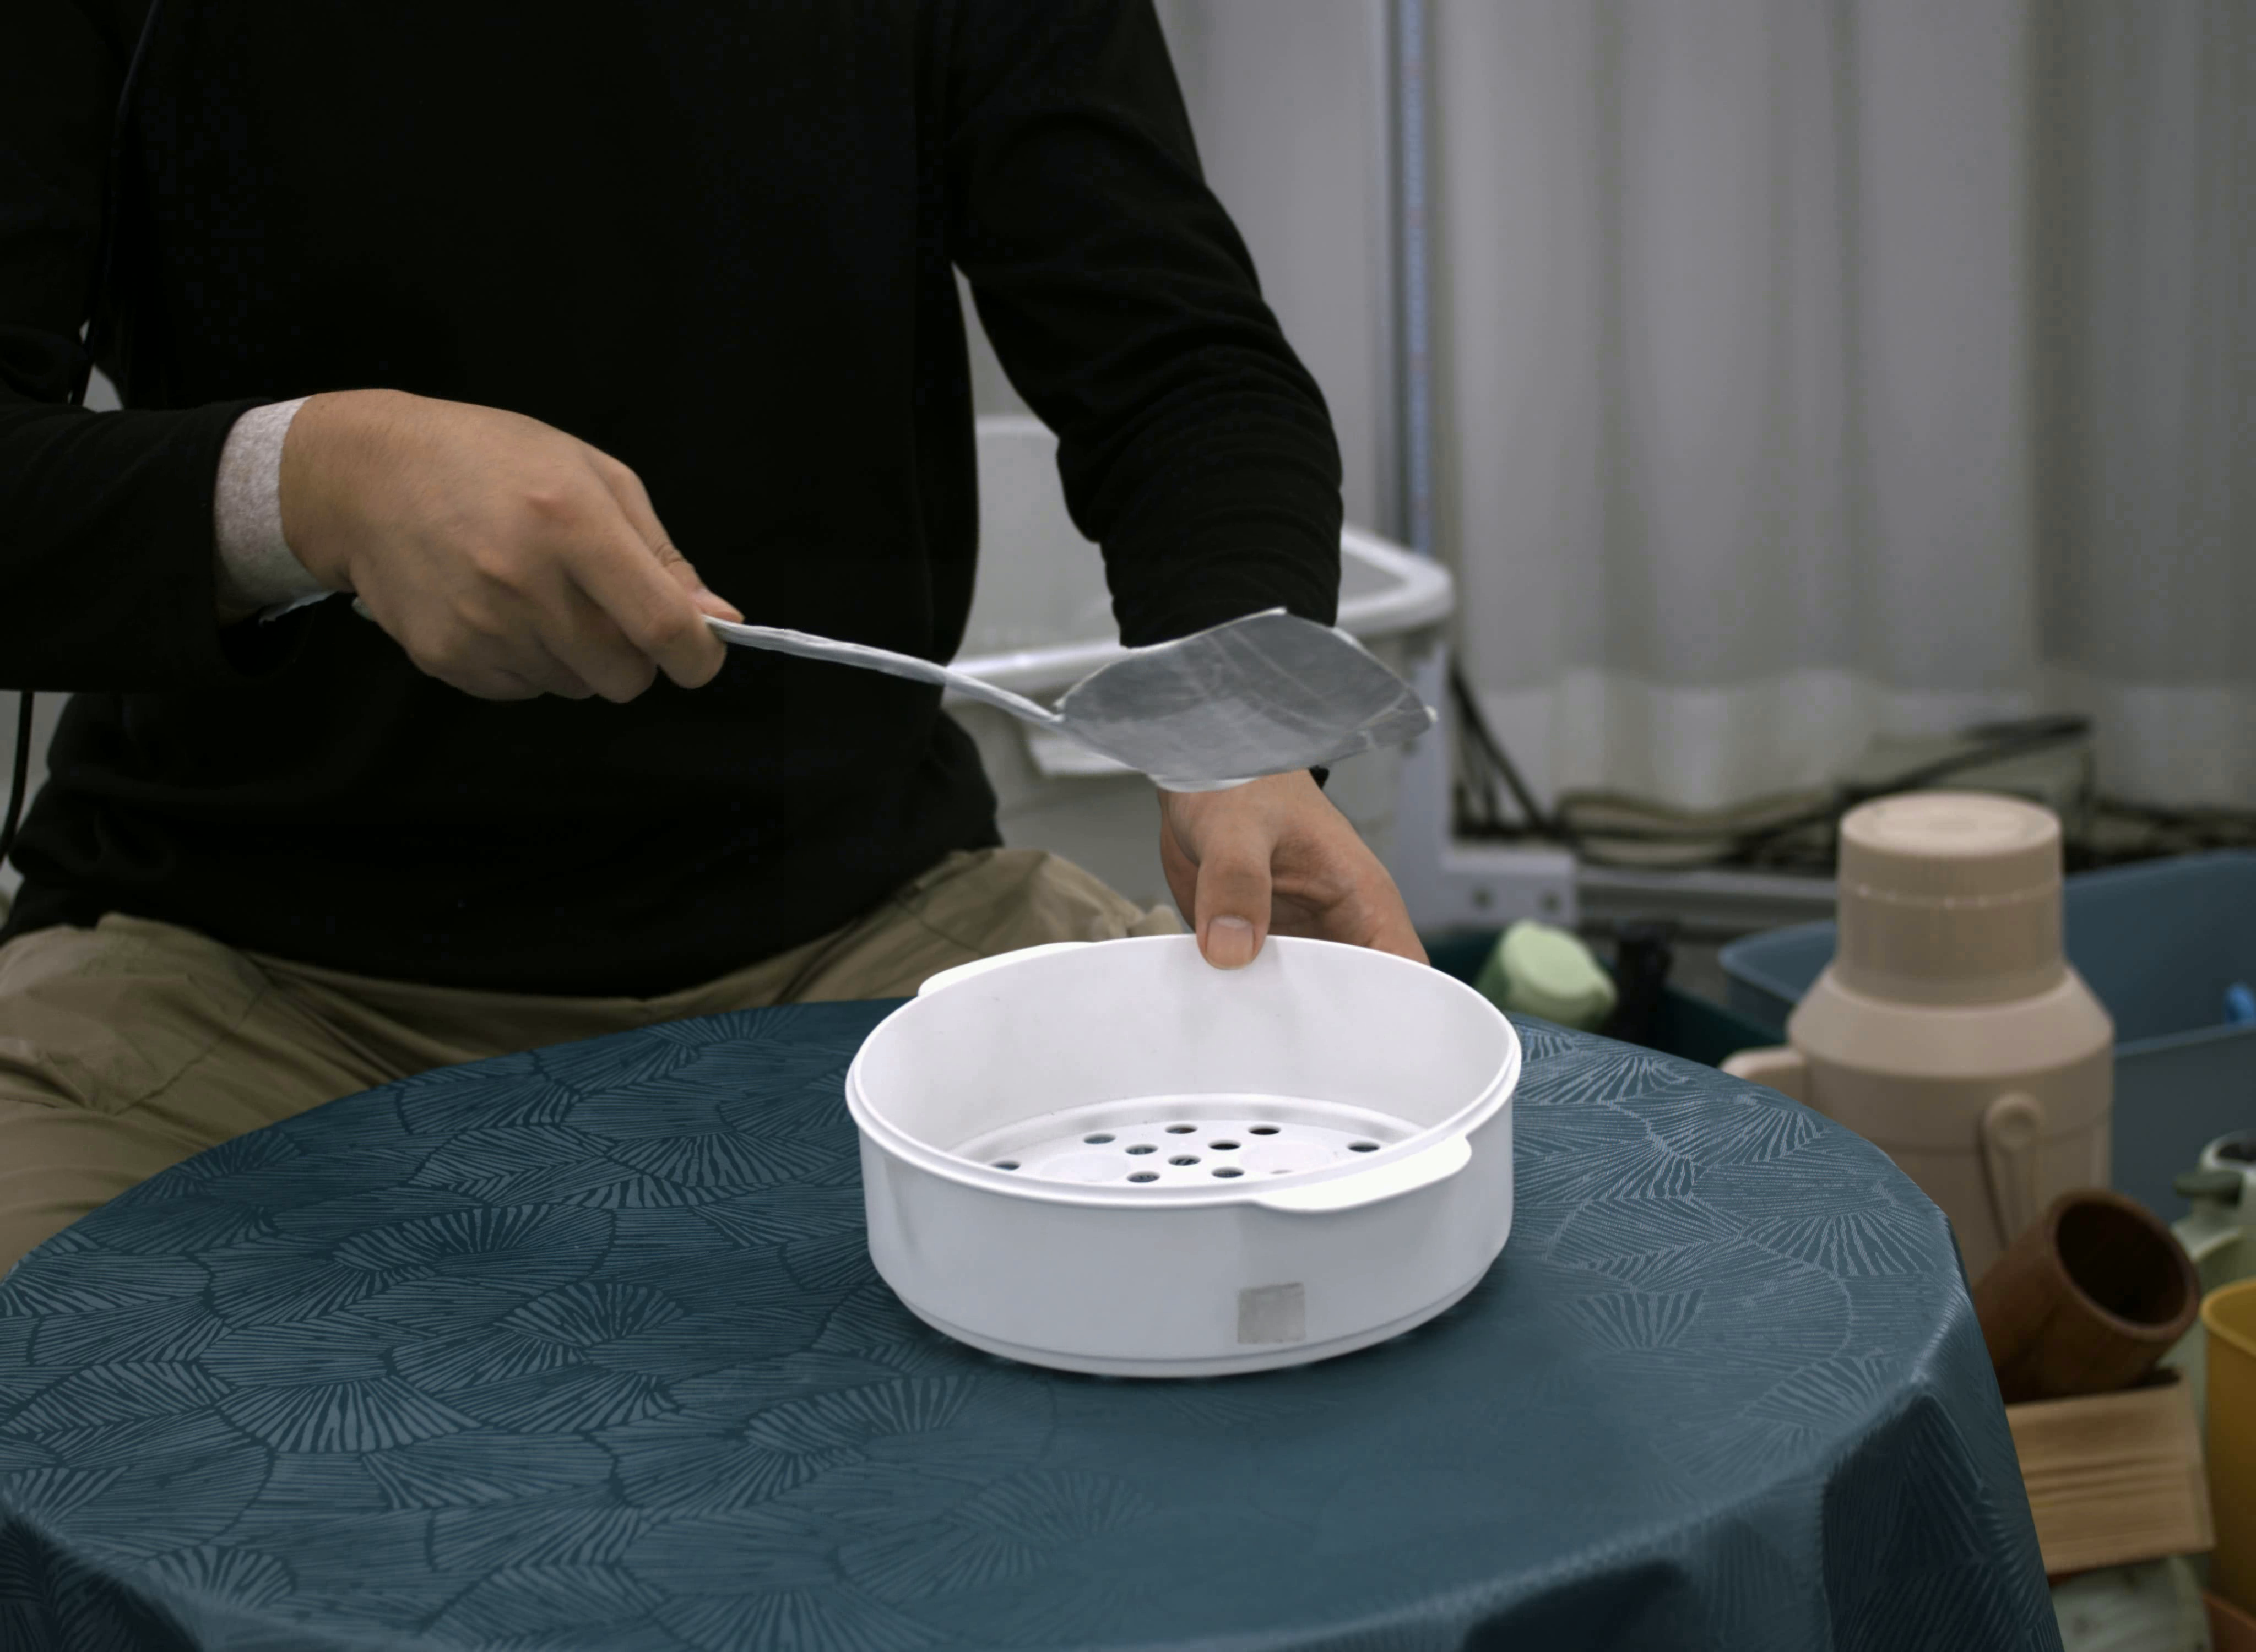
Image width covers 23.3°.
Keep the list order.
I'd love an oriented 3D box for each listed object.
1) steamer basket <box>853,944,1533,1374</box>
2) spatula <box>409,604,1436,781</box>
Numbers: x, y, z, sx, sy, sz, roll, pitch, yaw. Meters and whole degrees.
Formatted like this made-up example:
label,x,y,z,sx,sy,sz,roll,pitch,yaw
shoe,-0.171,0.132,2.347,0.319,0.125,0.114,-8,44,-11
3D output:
label,x,y,z,sx,sy,sz,roll,pitch,yaw
steamer basket,0.020,0.098,1.620,0.201,0.069,0.232,-13,21,-28
spatula,-0.079,-0.053,1.640,0.366,0.045,0.097,10,-14,34
